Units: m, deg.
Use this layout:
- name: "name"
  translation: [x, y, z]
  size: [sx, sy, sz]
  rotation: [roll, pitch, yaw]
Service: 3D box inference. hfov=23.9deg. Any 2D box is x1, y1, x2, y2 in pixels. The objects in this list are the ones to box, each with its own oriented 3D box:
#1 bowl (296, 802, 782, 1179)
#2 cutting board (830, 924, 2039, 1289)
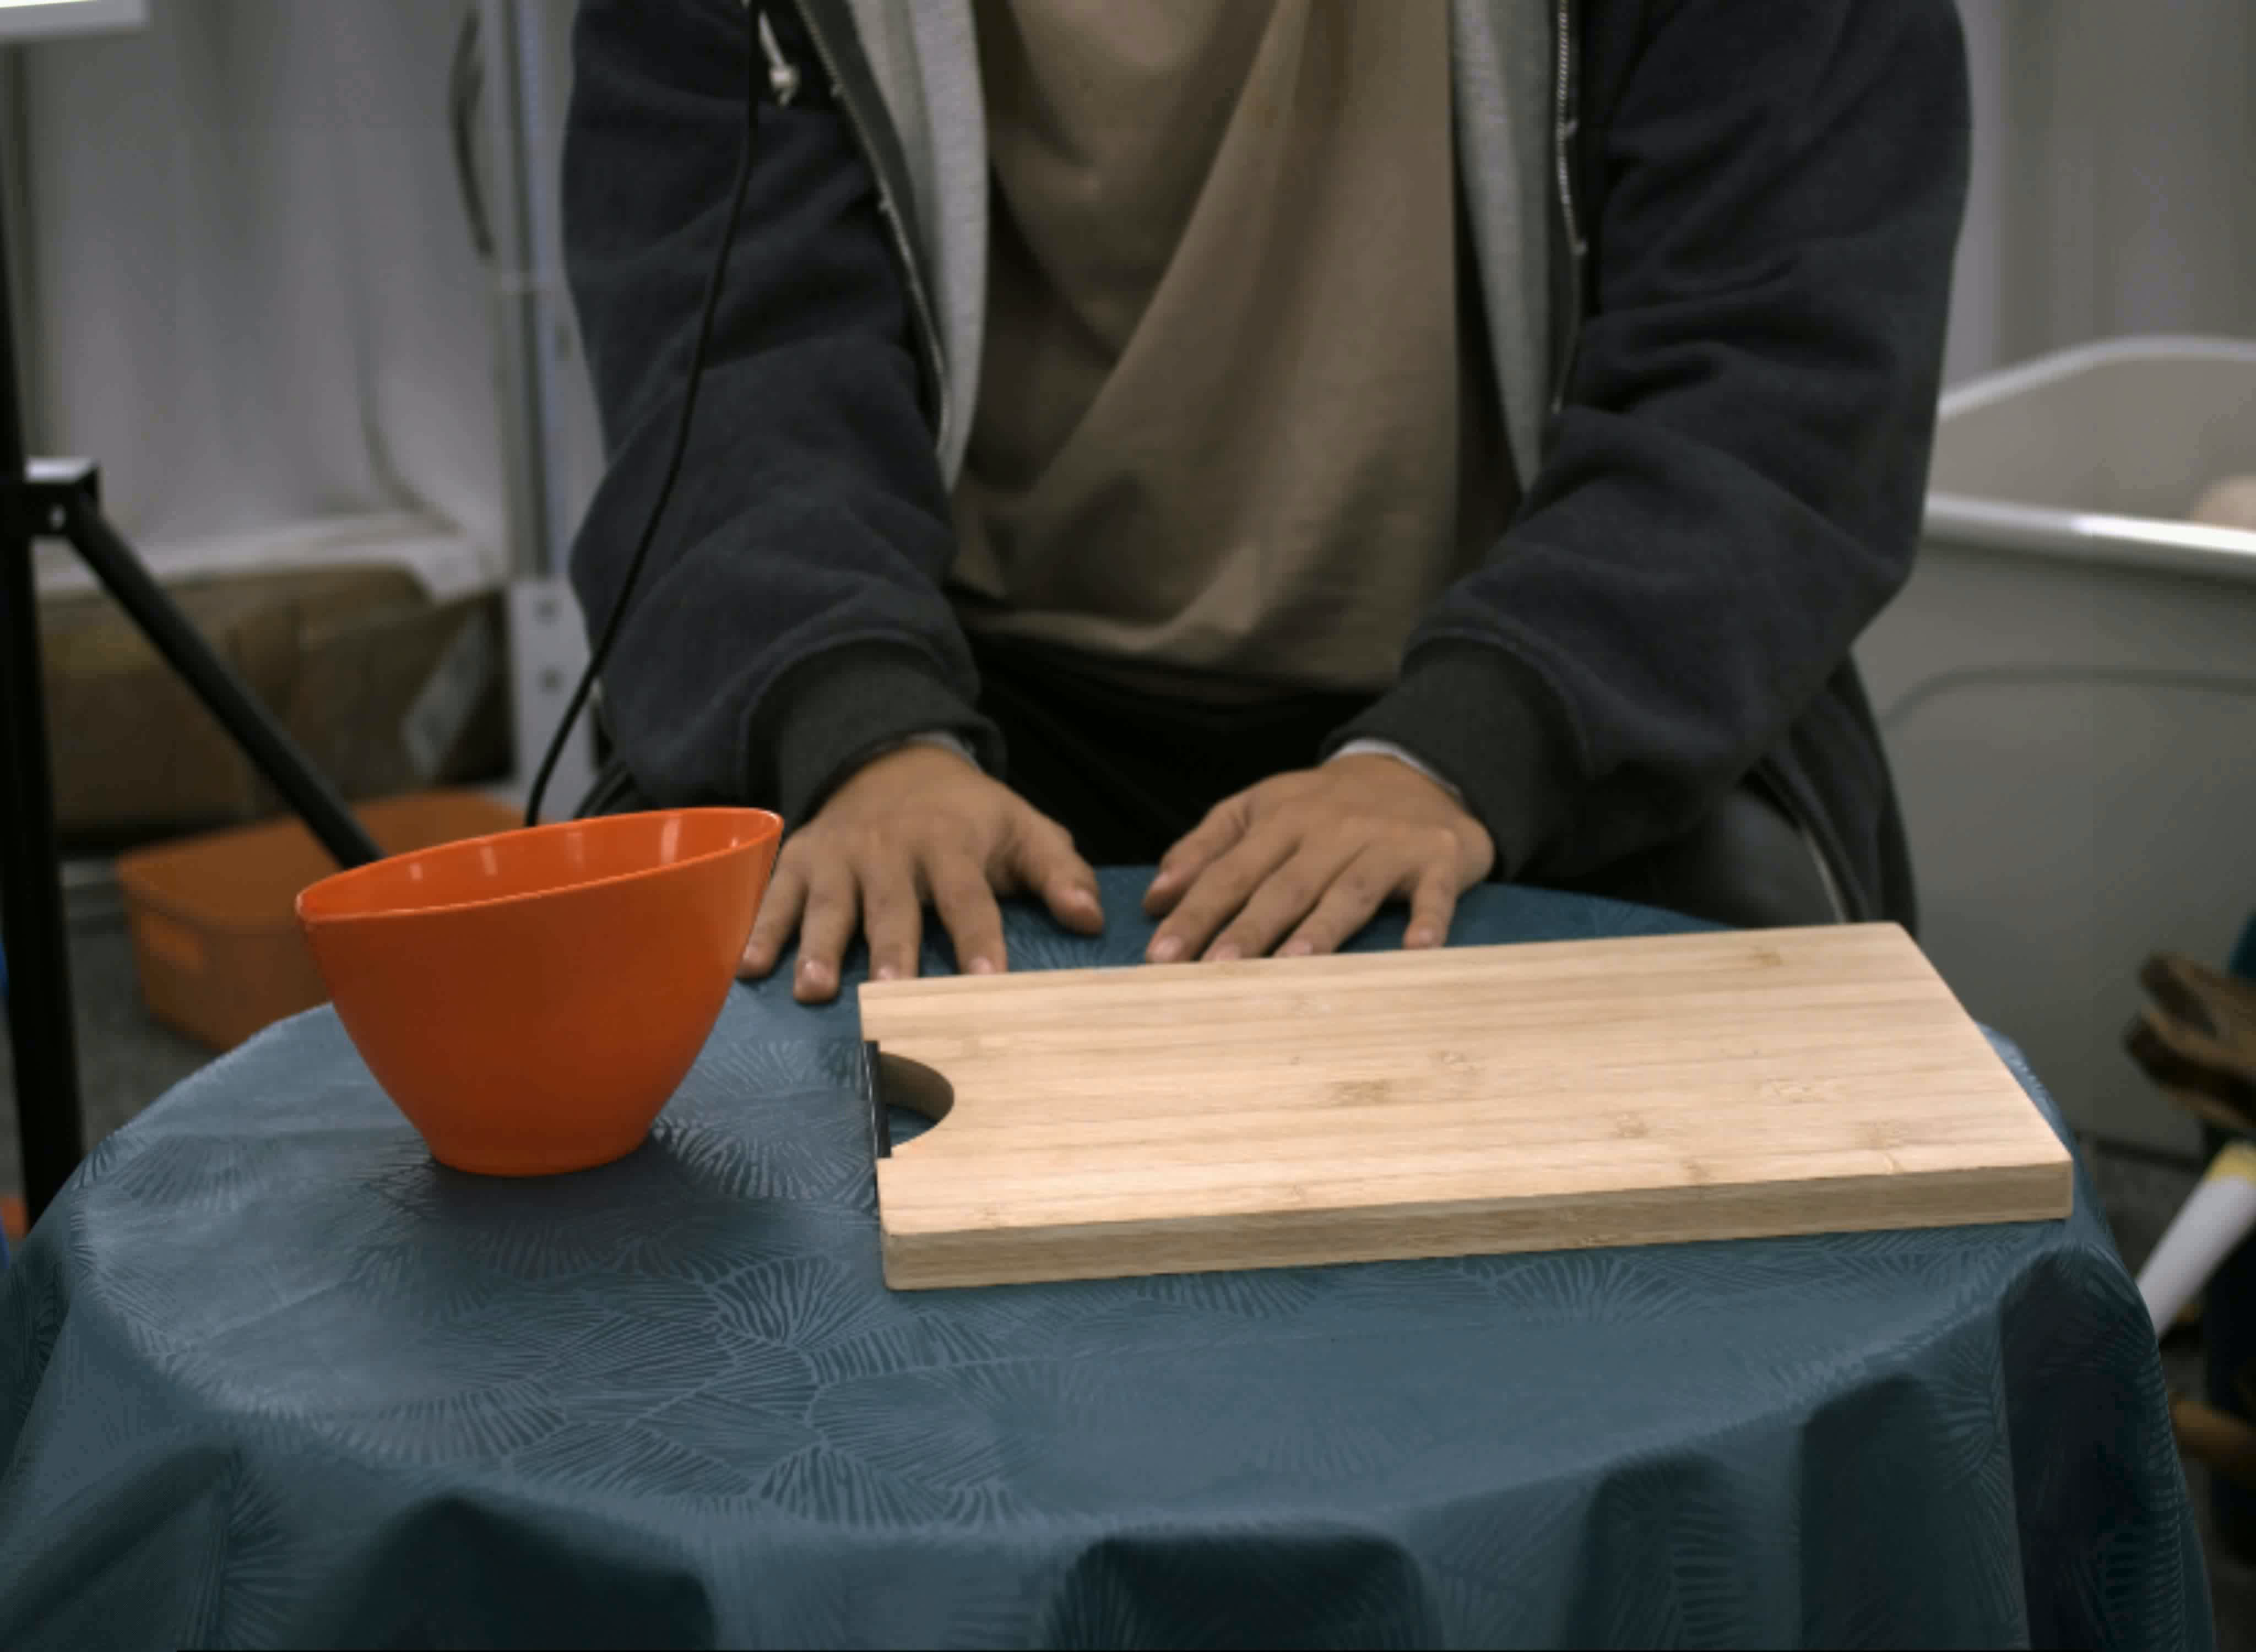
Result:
- name: "bowl"
  translation: [-0.174, 0.049, 1.610]
  size: [0.147, 0.104, 0.149]
  rotation: [-4, 17, 0]
- name: "cutting board"
  translation: [0.085, 0.083, 1.607]
  size: [0.346, 0.023, 0.252]
  rotation: [-3, 15, -3]
